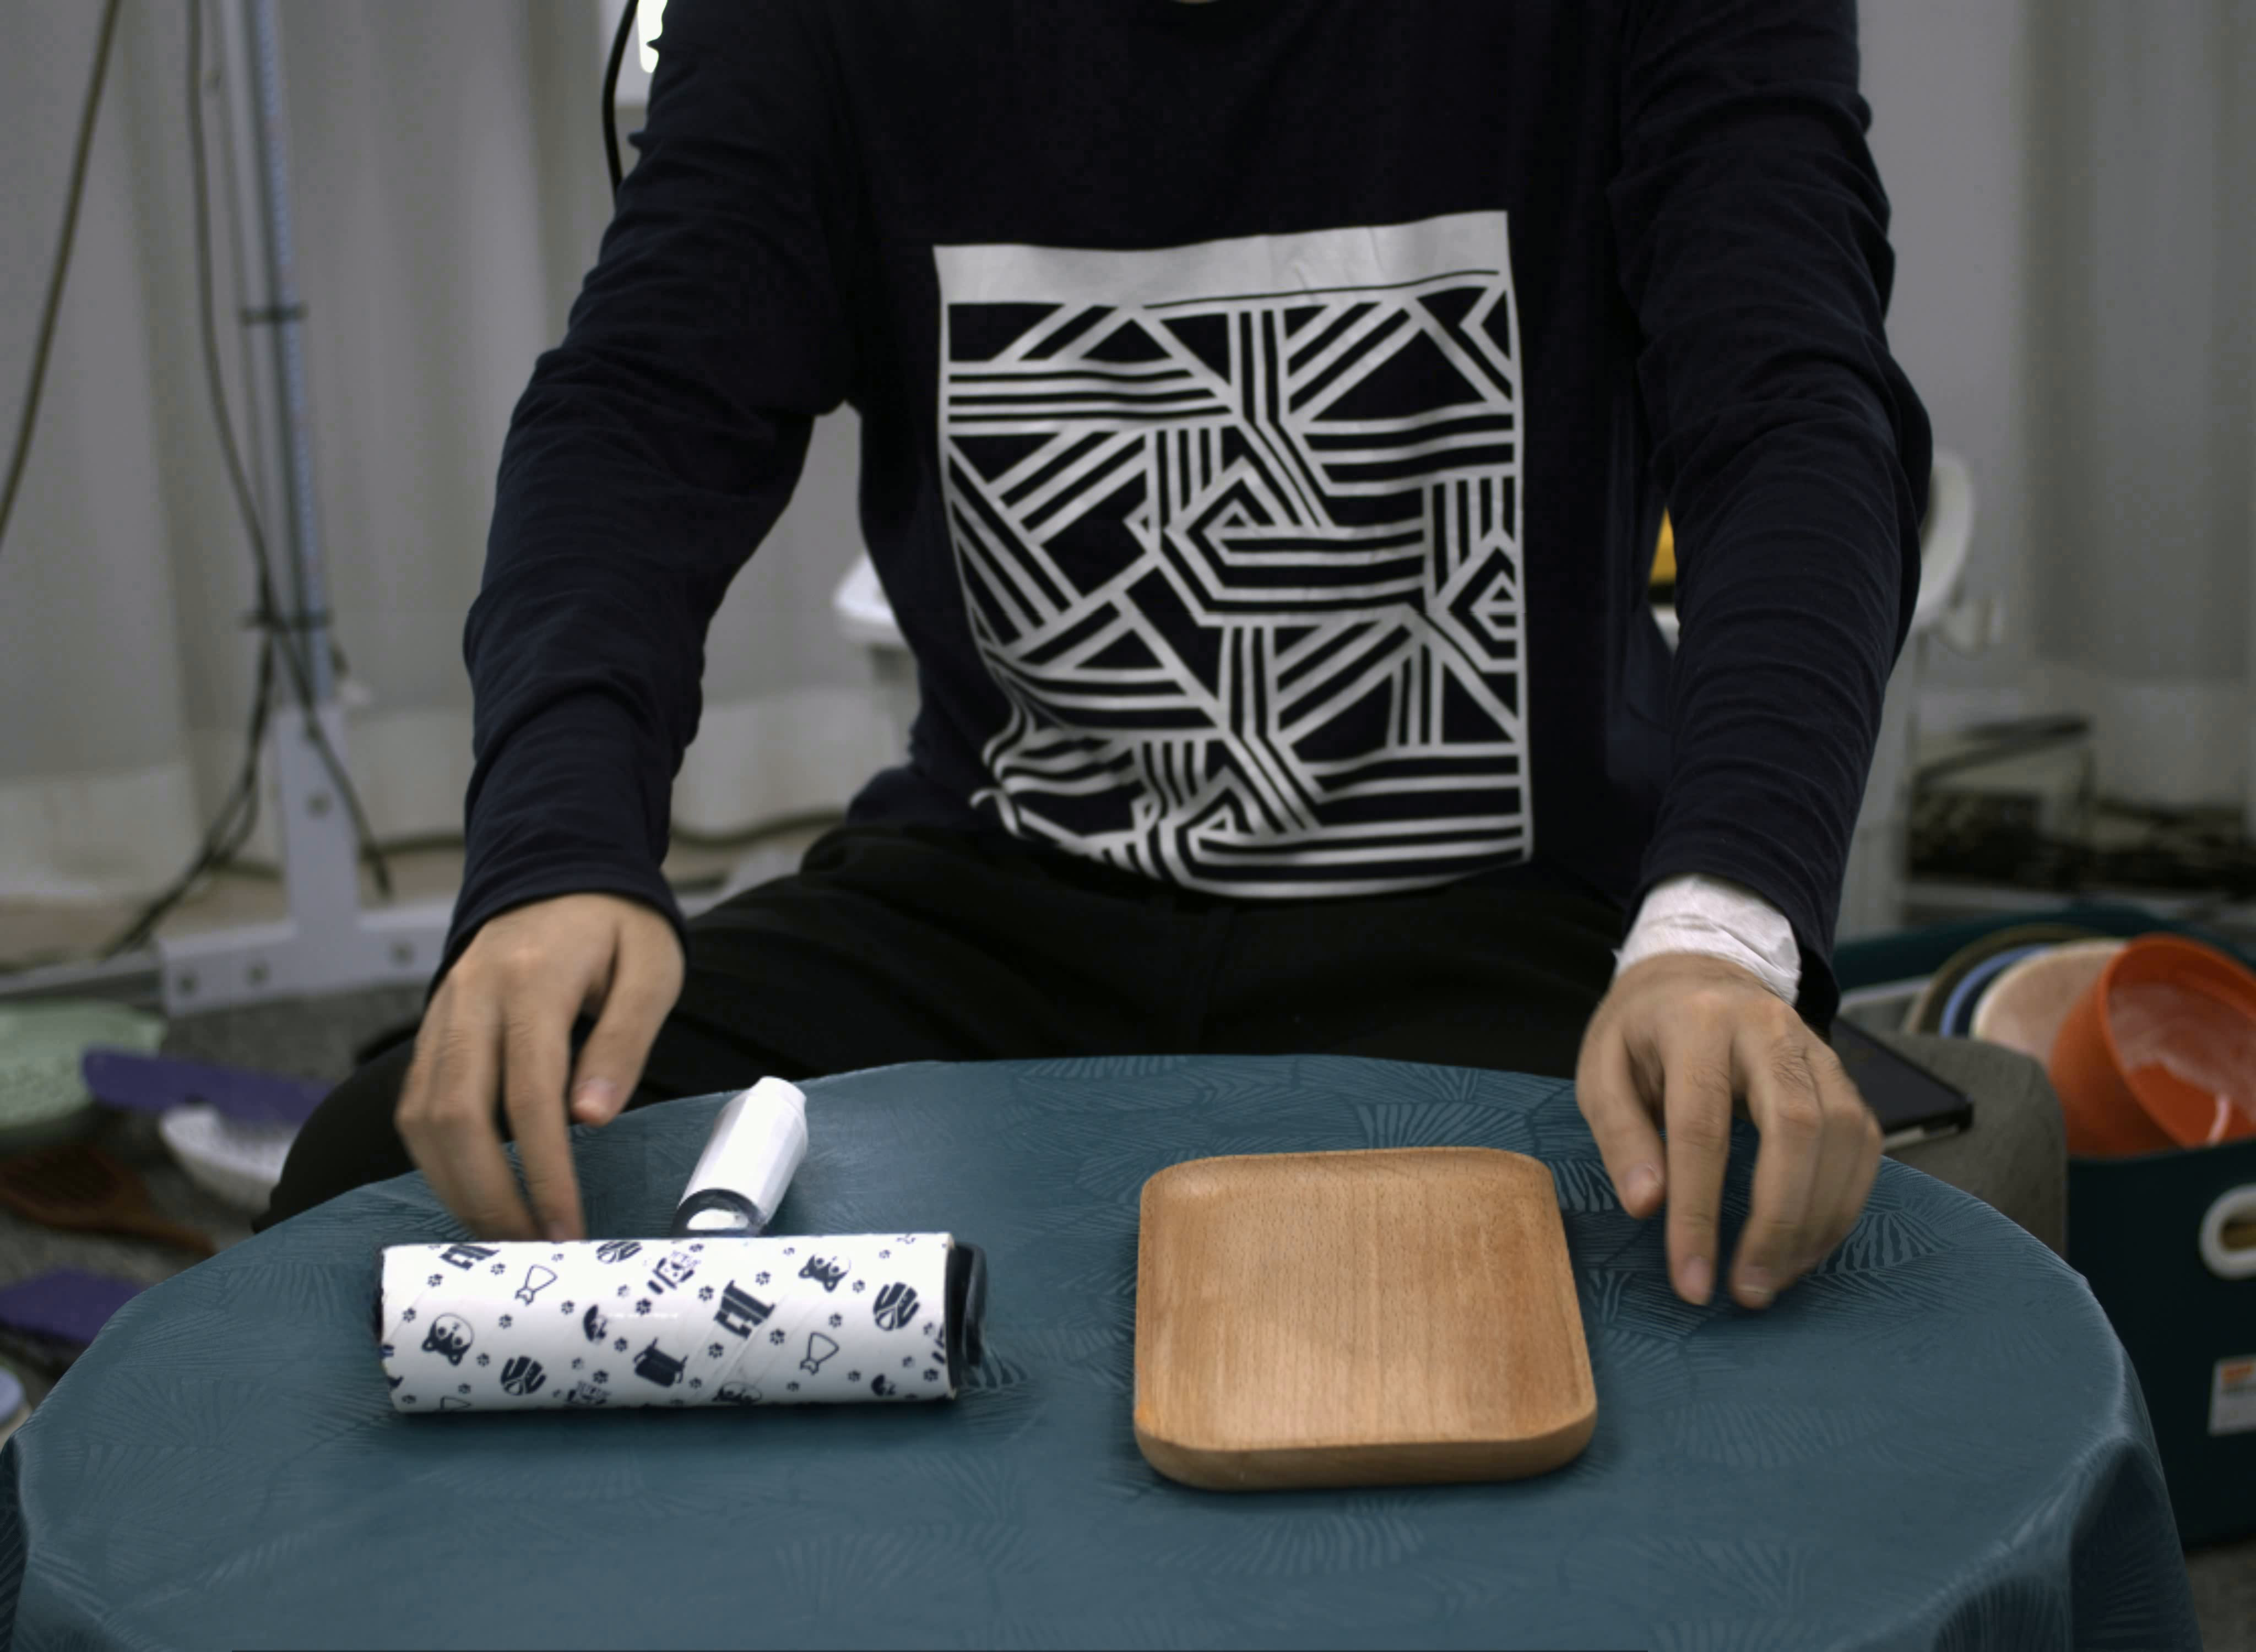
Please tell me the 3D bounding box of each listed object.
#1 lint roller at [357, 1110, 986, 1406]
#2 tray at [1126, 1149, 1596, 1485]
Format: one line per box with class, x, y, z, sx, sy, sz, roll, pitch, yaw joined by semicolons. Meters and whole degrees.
lint roller;-0.124;0.119;1.649;0.176;0.050;0.248;-3;12;4
tray;0.066;0.139;1.581;0.130;0.023;0.252;1;14;2
